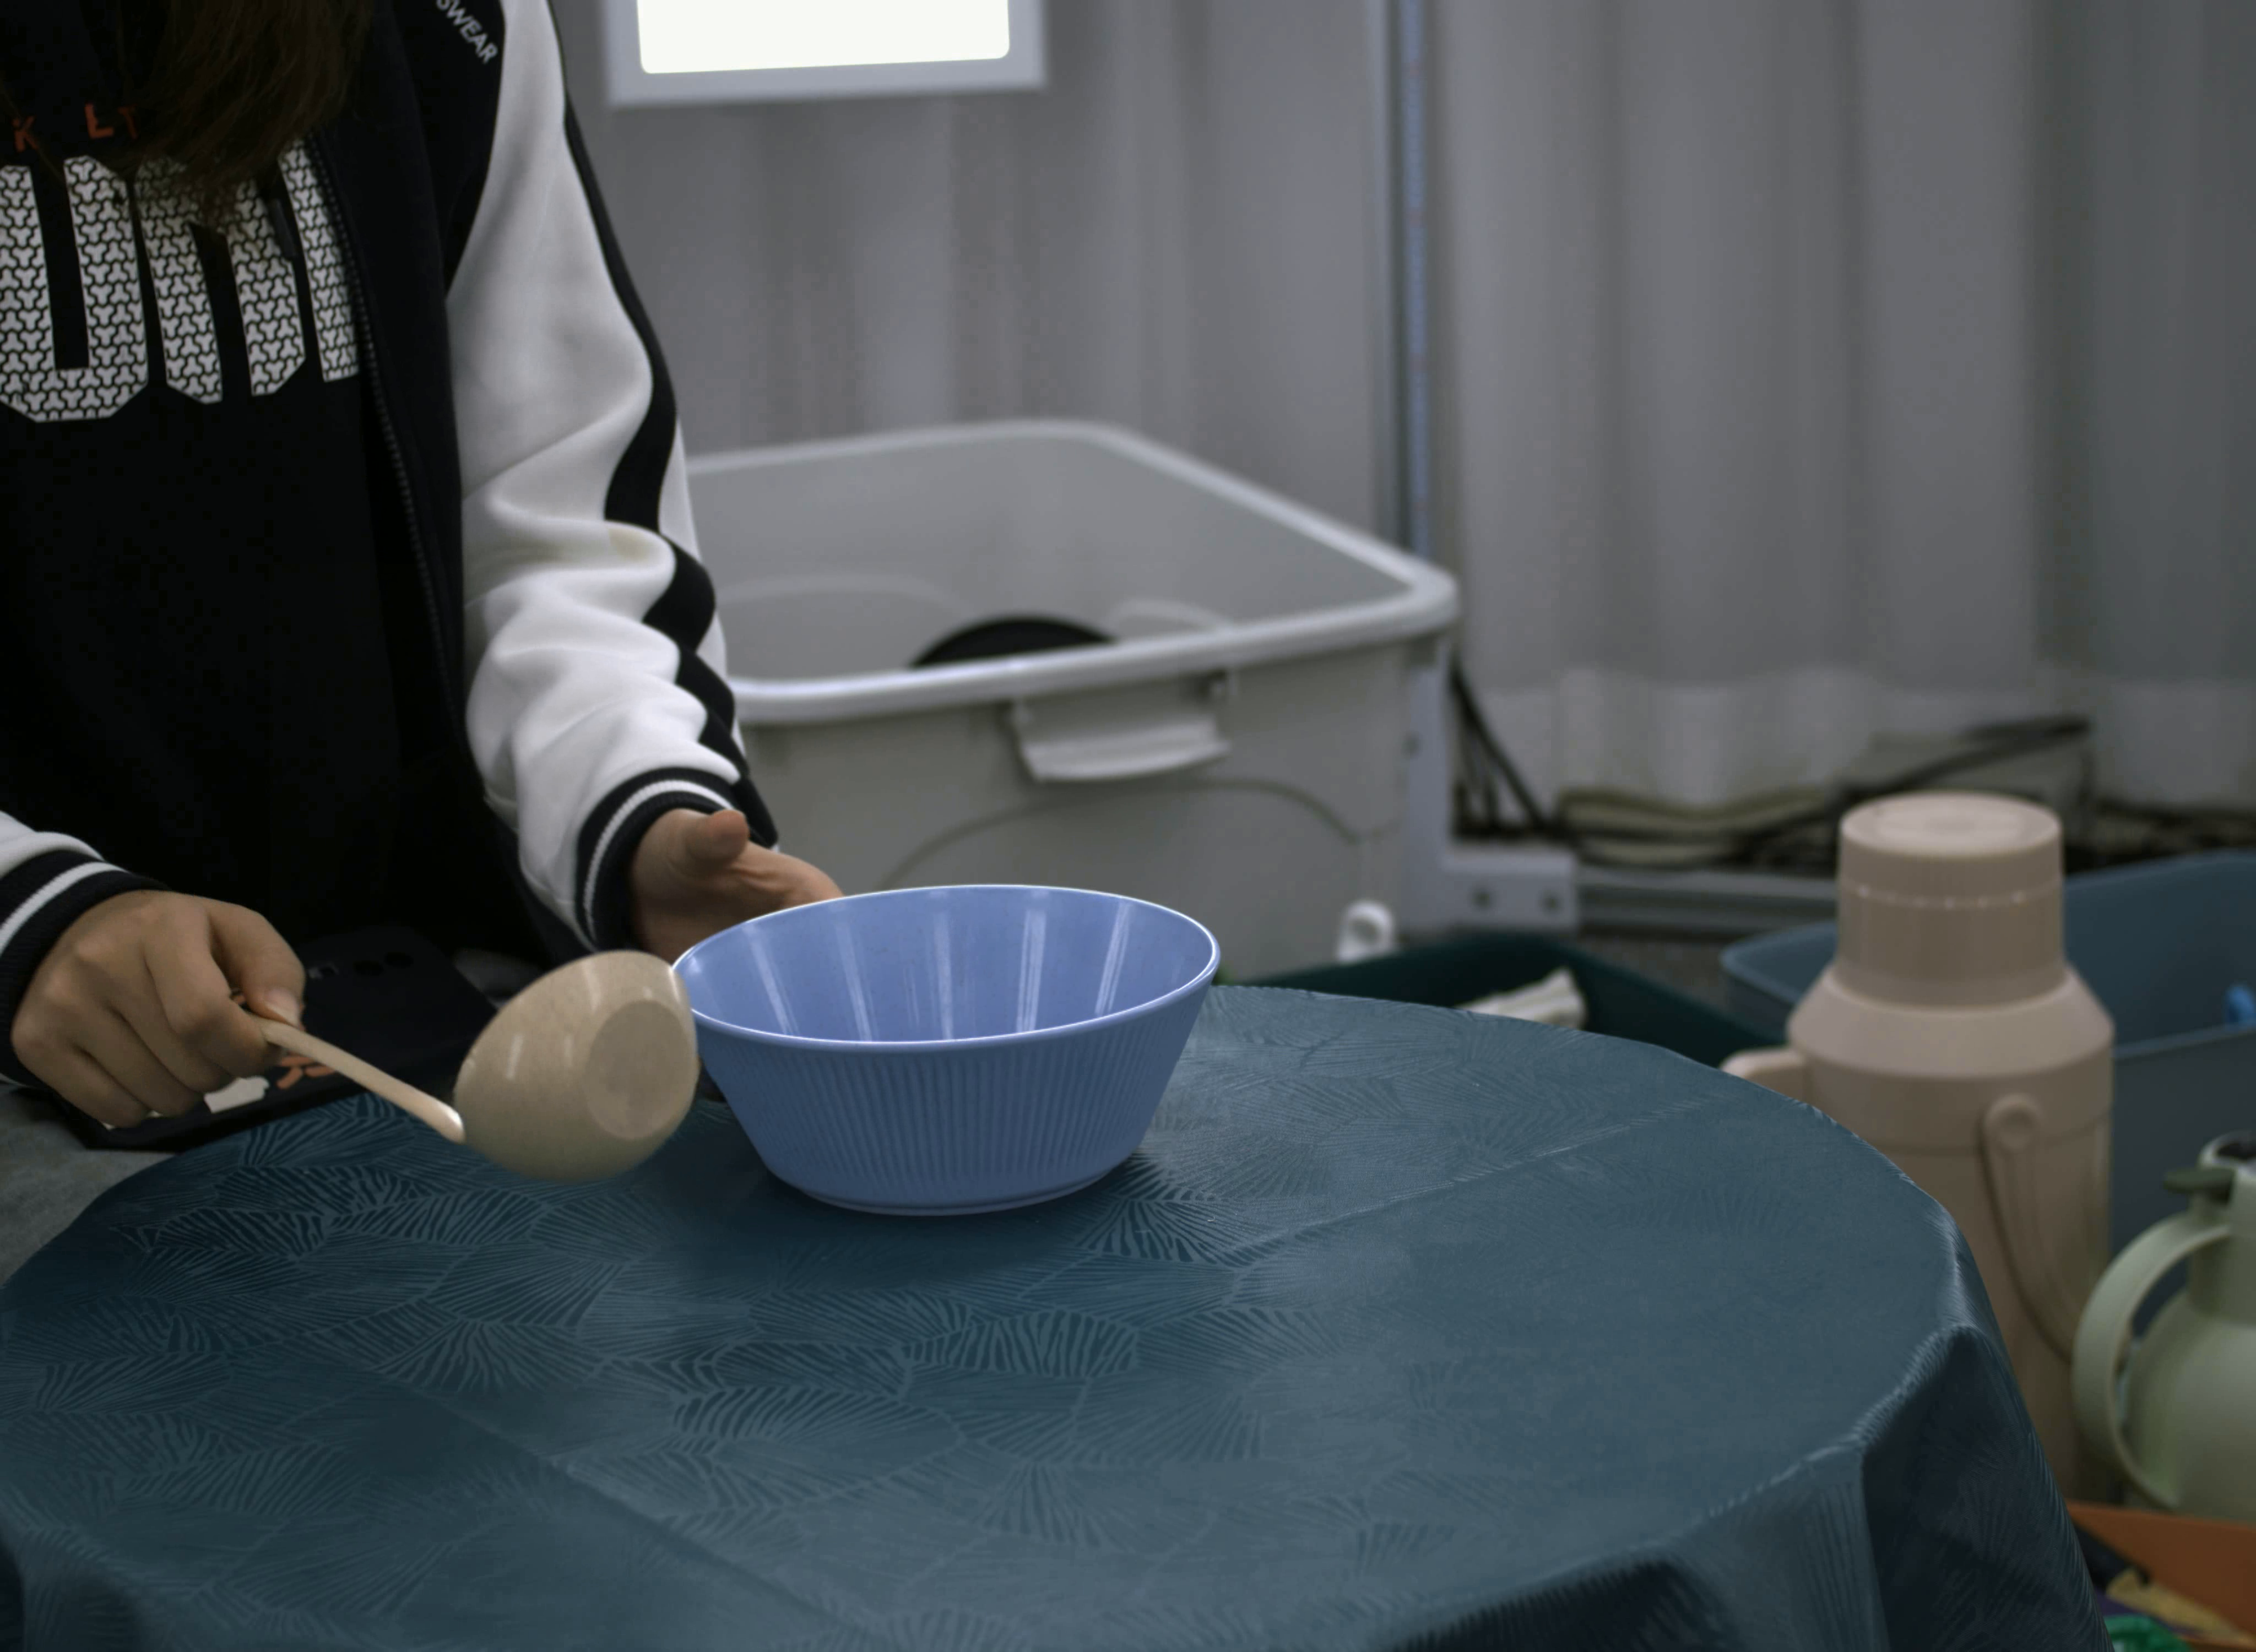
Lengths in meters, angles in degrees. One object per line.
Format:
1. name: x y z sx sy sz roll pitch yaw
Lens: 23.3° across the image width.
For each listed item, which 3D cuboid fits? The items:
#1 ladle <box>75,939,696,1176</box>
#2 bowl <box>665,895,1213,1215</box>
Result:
1. ladle: -0.226 0.045 1.625 0.256 0.073 0.071 16 -2 43
2. bowl: -0.059 0.075 1.741 0.175 0.070 0.177 -2 14 0
